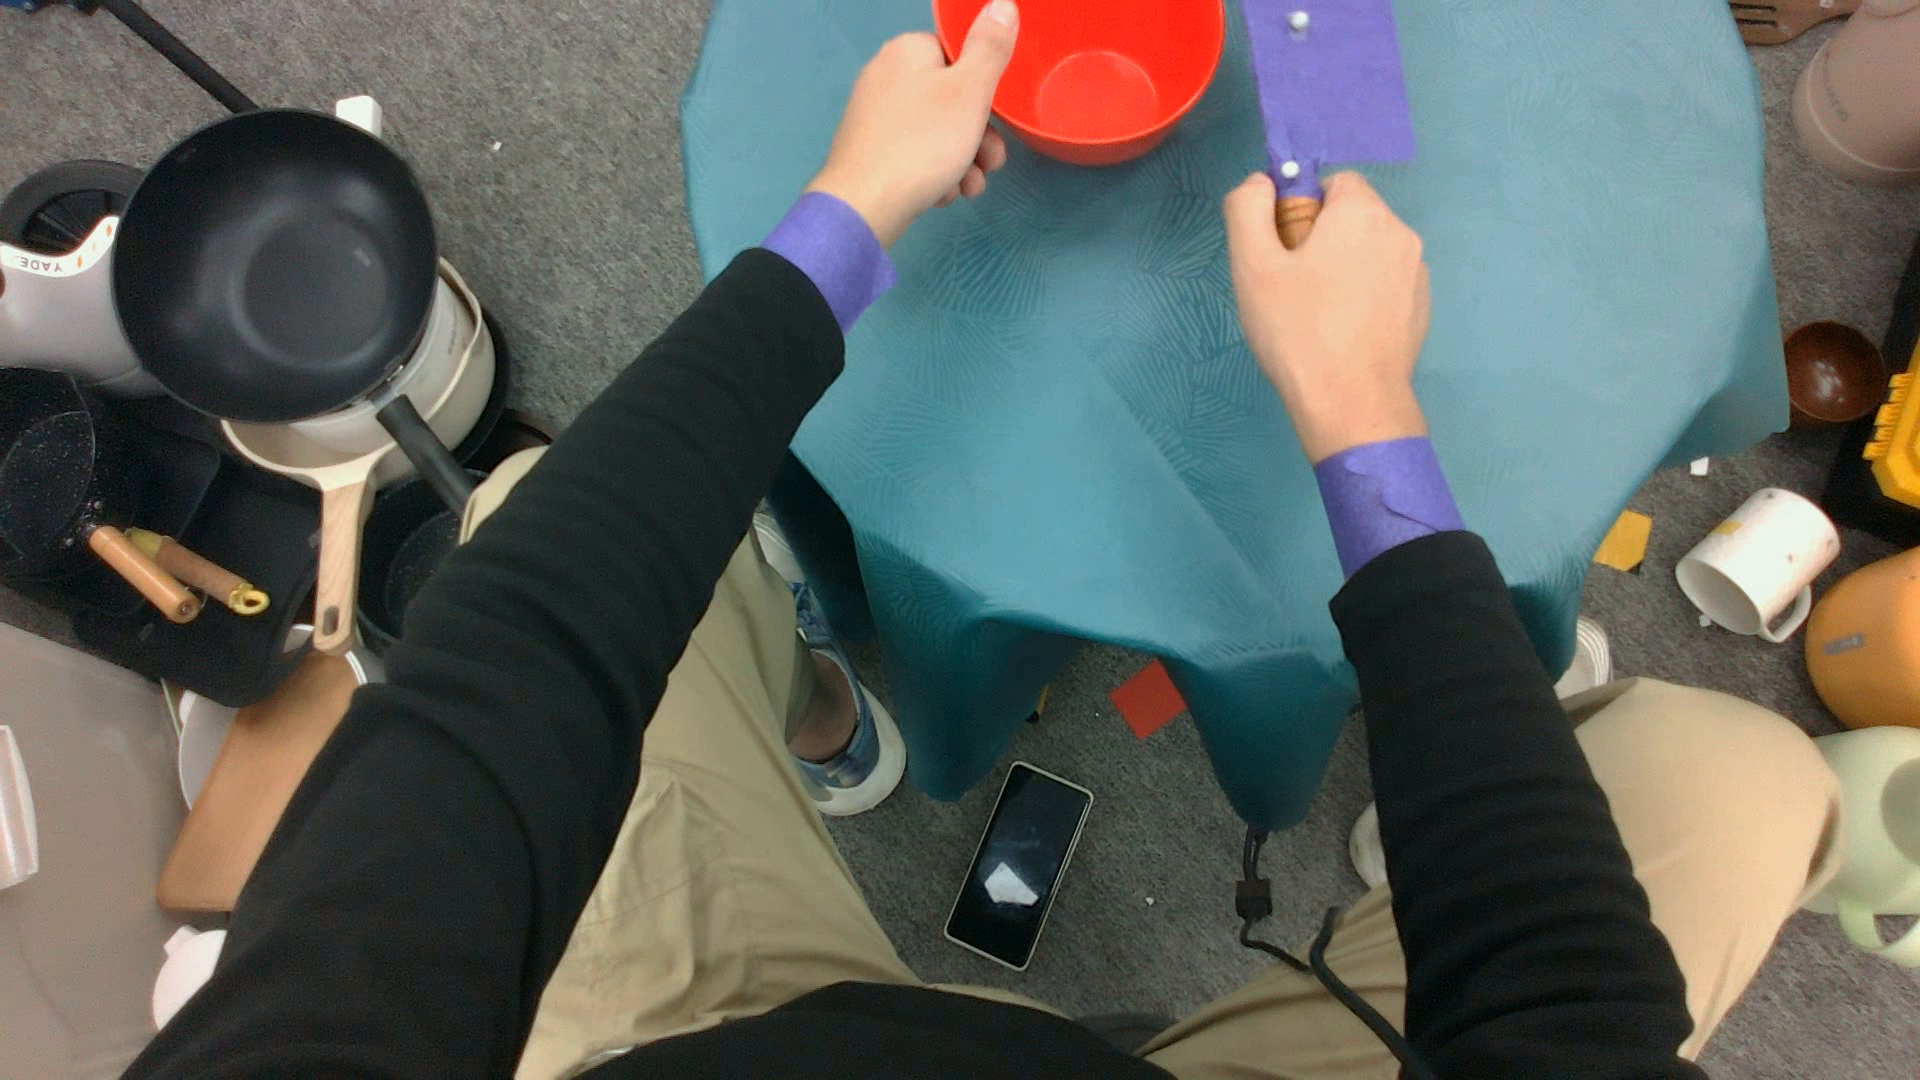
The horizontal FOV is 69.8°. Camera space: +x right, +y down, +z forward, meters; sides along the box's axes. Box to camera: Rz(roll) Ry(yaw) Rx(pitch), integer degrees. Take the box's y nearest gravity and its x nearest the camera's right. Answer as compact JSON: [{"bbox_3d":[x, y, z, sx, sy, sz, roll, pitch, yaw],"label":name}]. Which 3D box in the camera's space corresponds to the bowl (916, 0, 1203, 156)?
[{"bbox_3d":[0.053,-0.265,0.739,0.148,0.104,0.148,0,75,1],"label":"bowl"}]

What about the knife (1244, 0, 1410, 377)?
[{"bbox_3d":[0.181,-0.240,0.681,0.104,0.032,0.315,-6,88,-22],"label":"knife"}]
